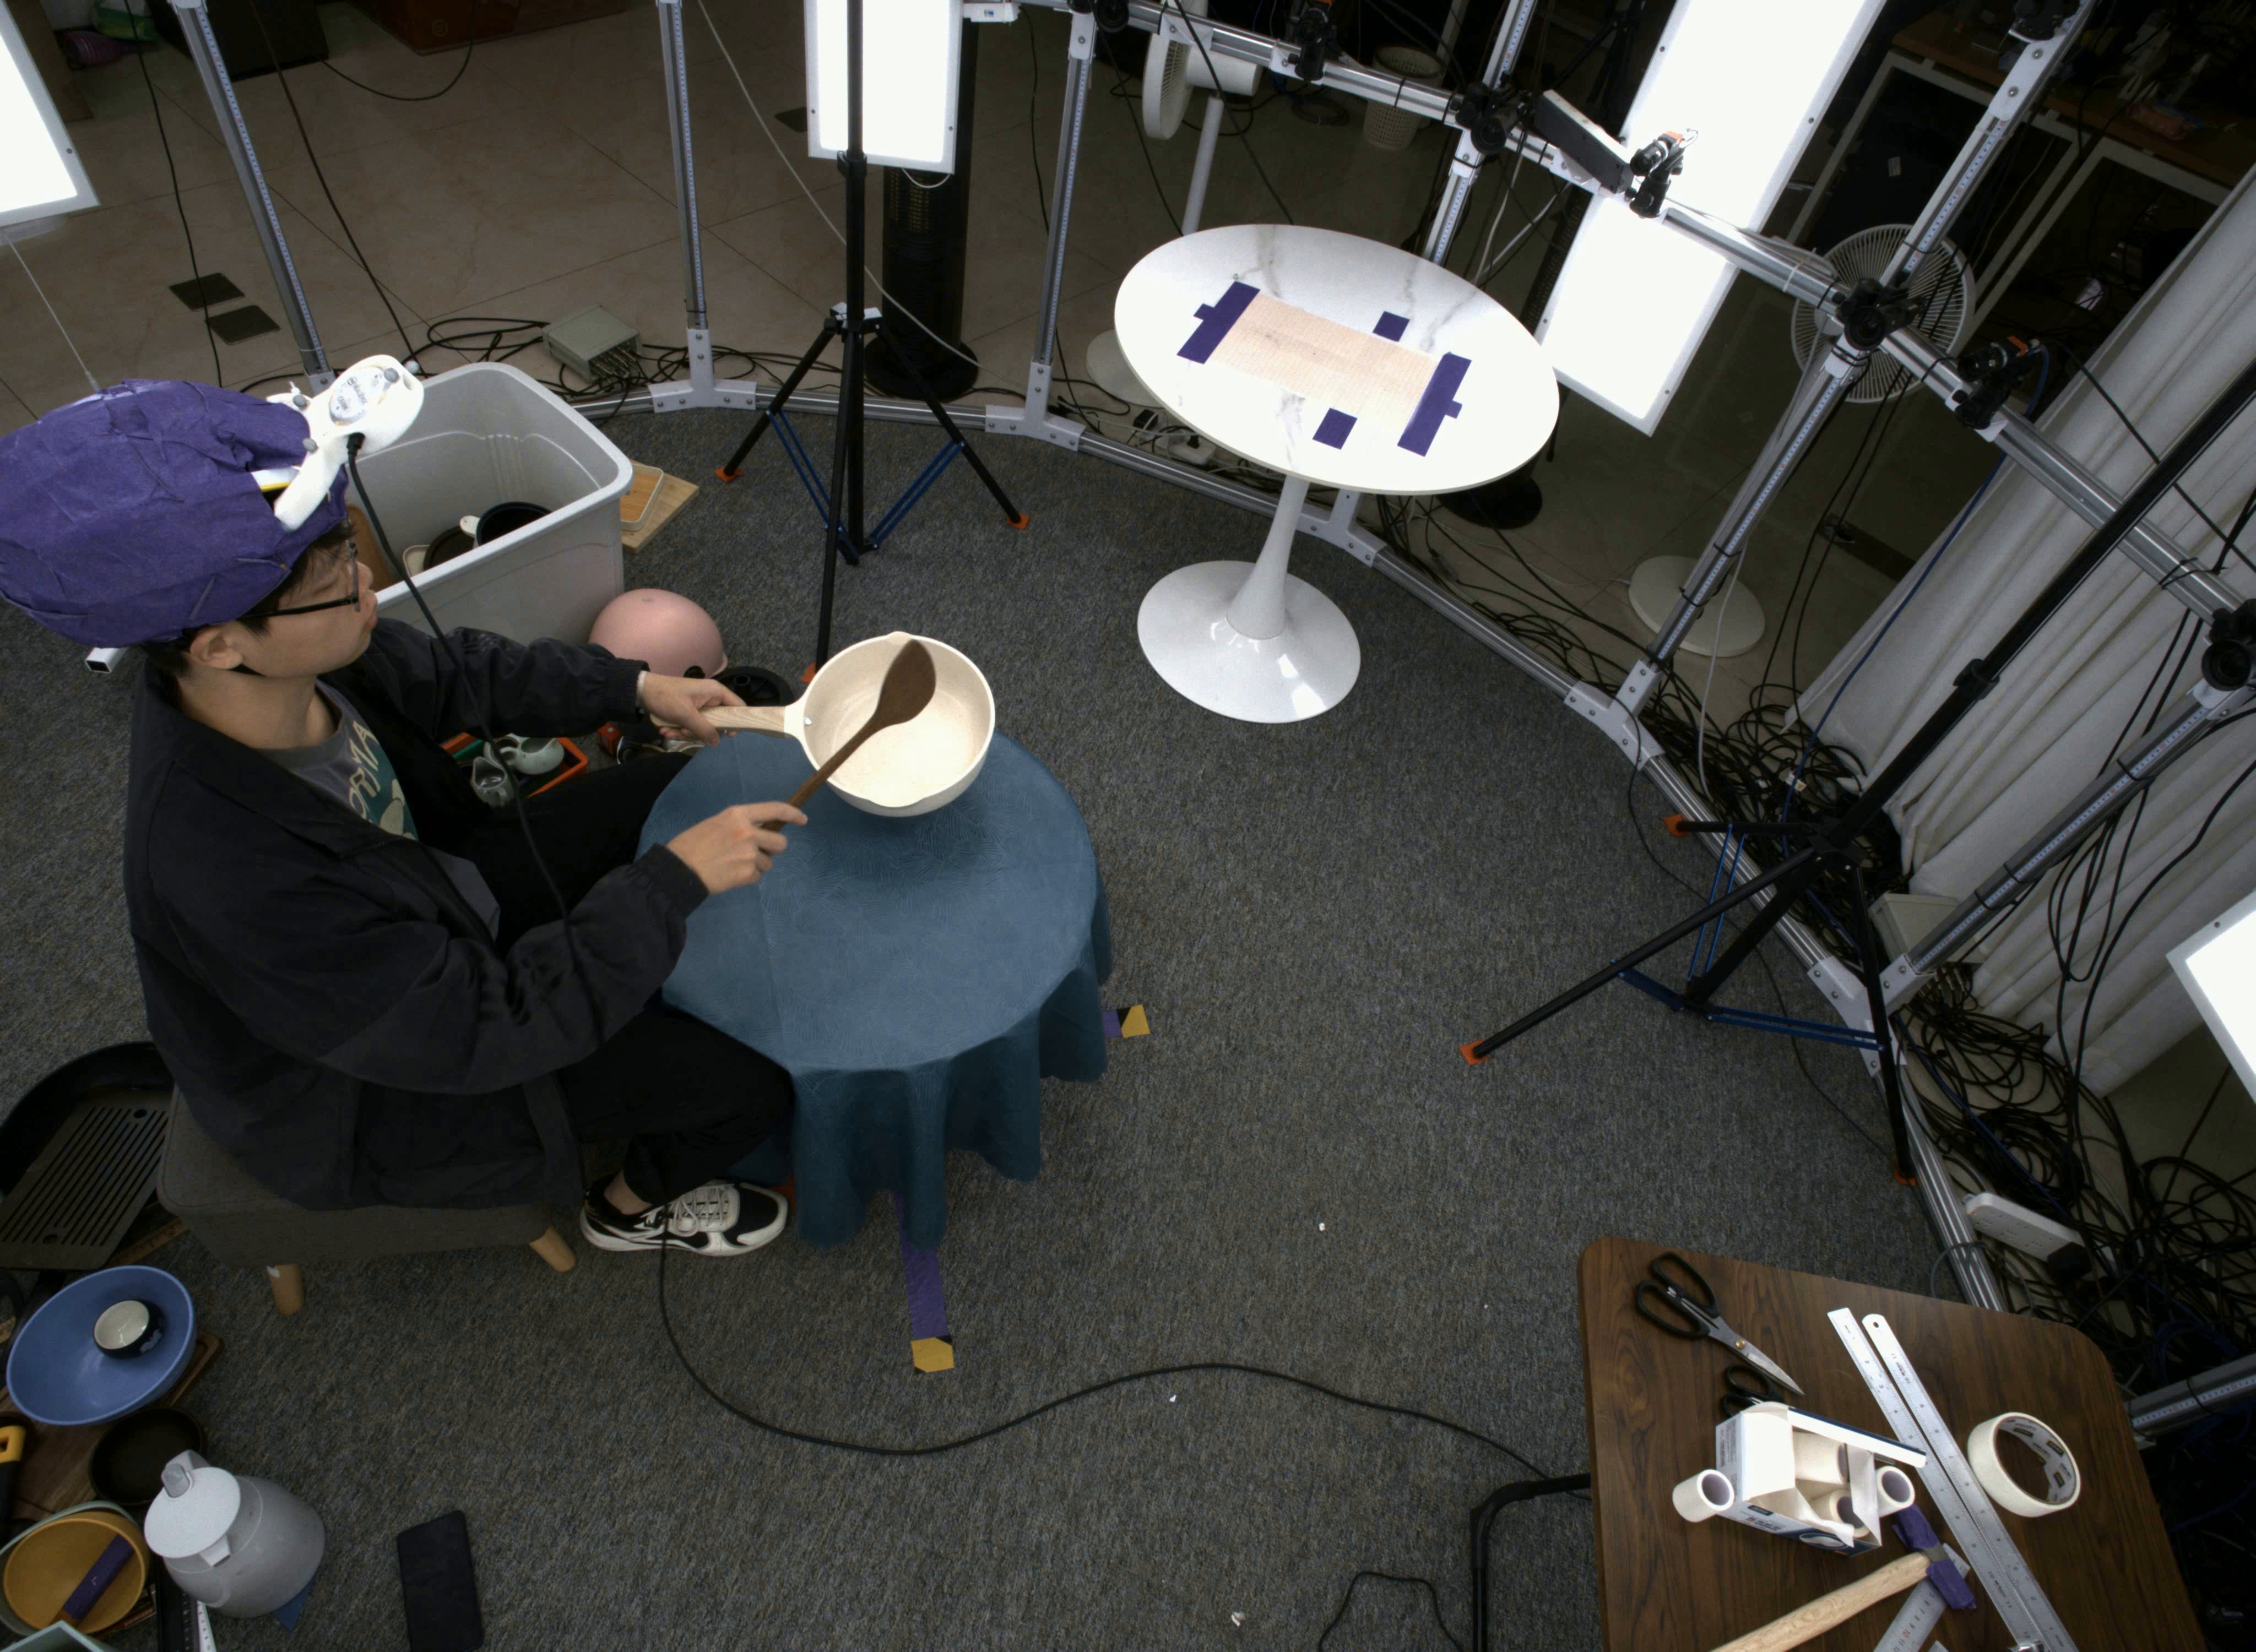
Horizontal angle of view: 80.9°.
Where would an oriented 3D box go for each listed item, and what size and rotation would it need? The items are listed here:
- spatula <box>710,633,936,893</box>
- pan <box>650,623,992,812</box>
[{"bbox_3d":[-0.349,-0.071,1.495,0.015,0.099,0.385,28,65,25],"label":"spatula"},{"bbox_3d":[-0.393,-0.132,1.691,0.432,0.103,0.260,-3,67,-7],"label":"pan"}]
